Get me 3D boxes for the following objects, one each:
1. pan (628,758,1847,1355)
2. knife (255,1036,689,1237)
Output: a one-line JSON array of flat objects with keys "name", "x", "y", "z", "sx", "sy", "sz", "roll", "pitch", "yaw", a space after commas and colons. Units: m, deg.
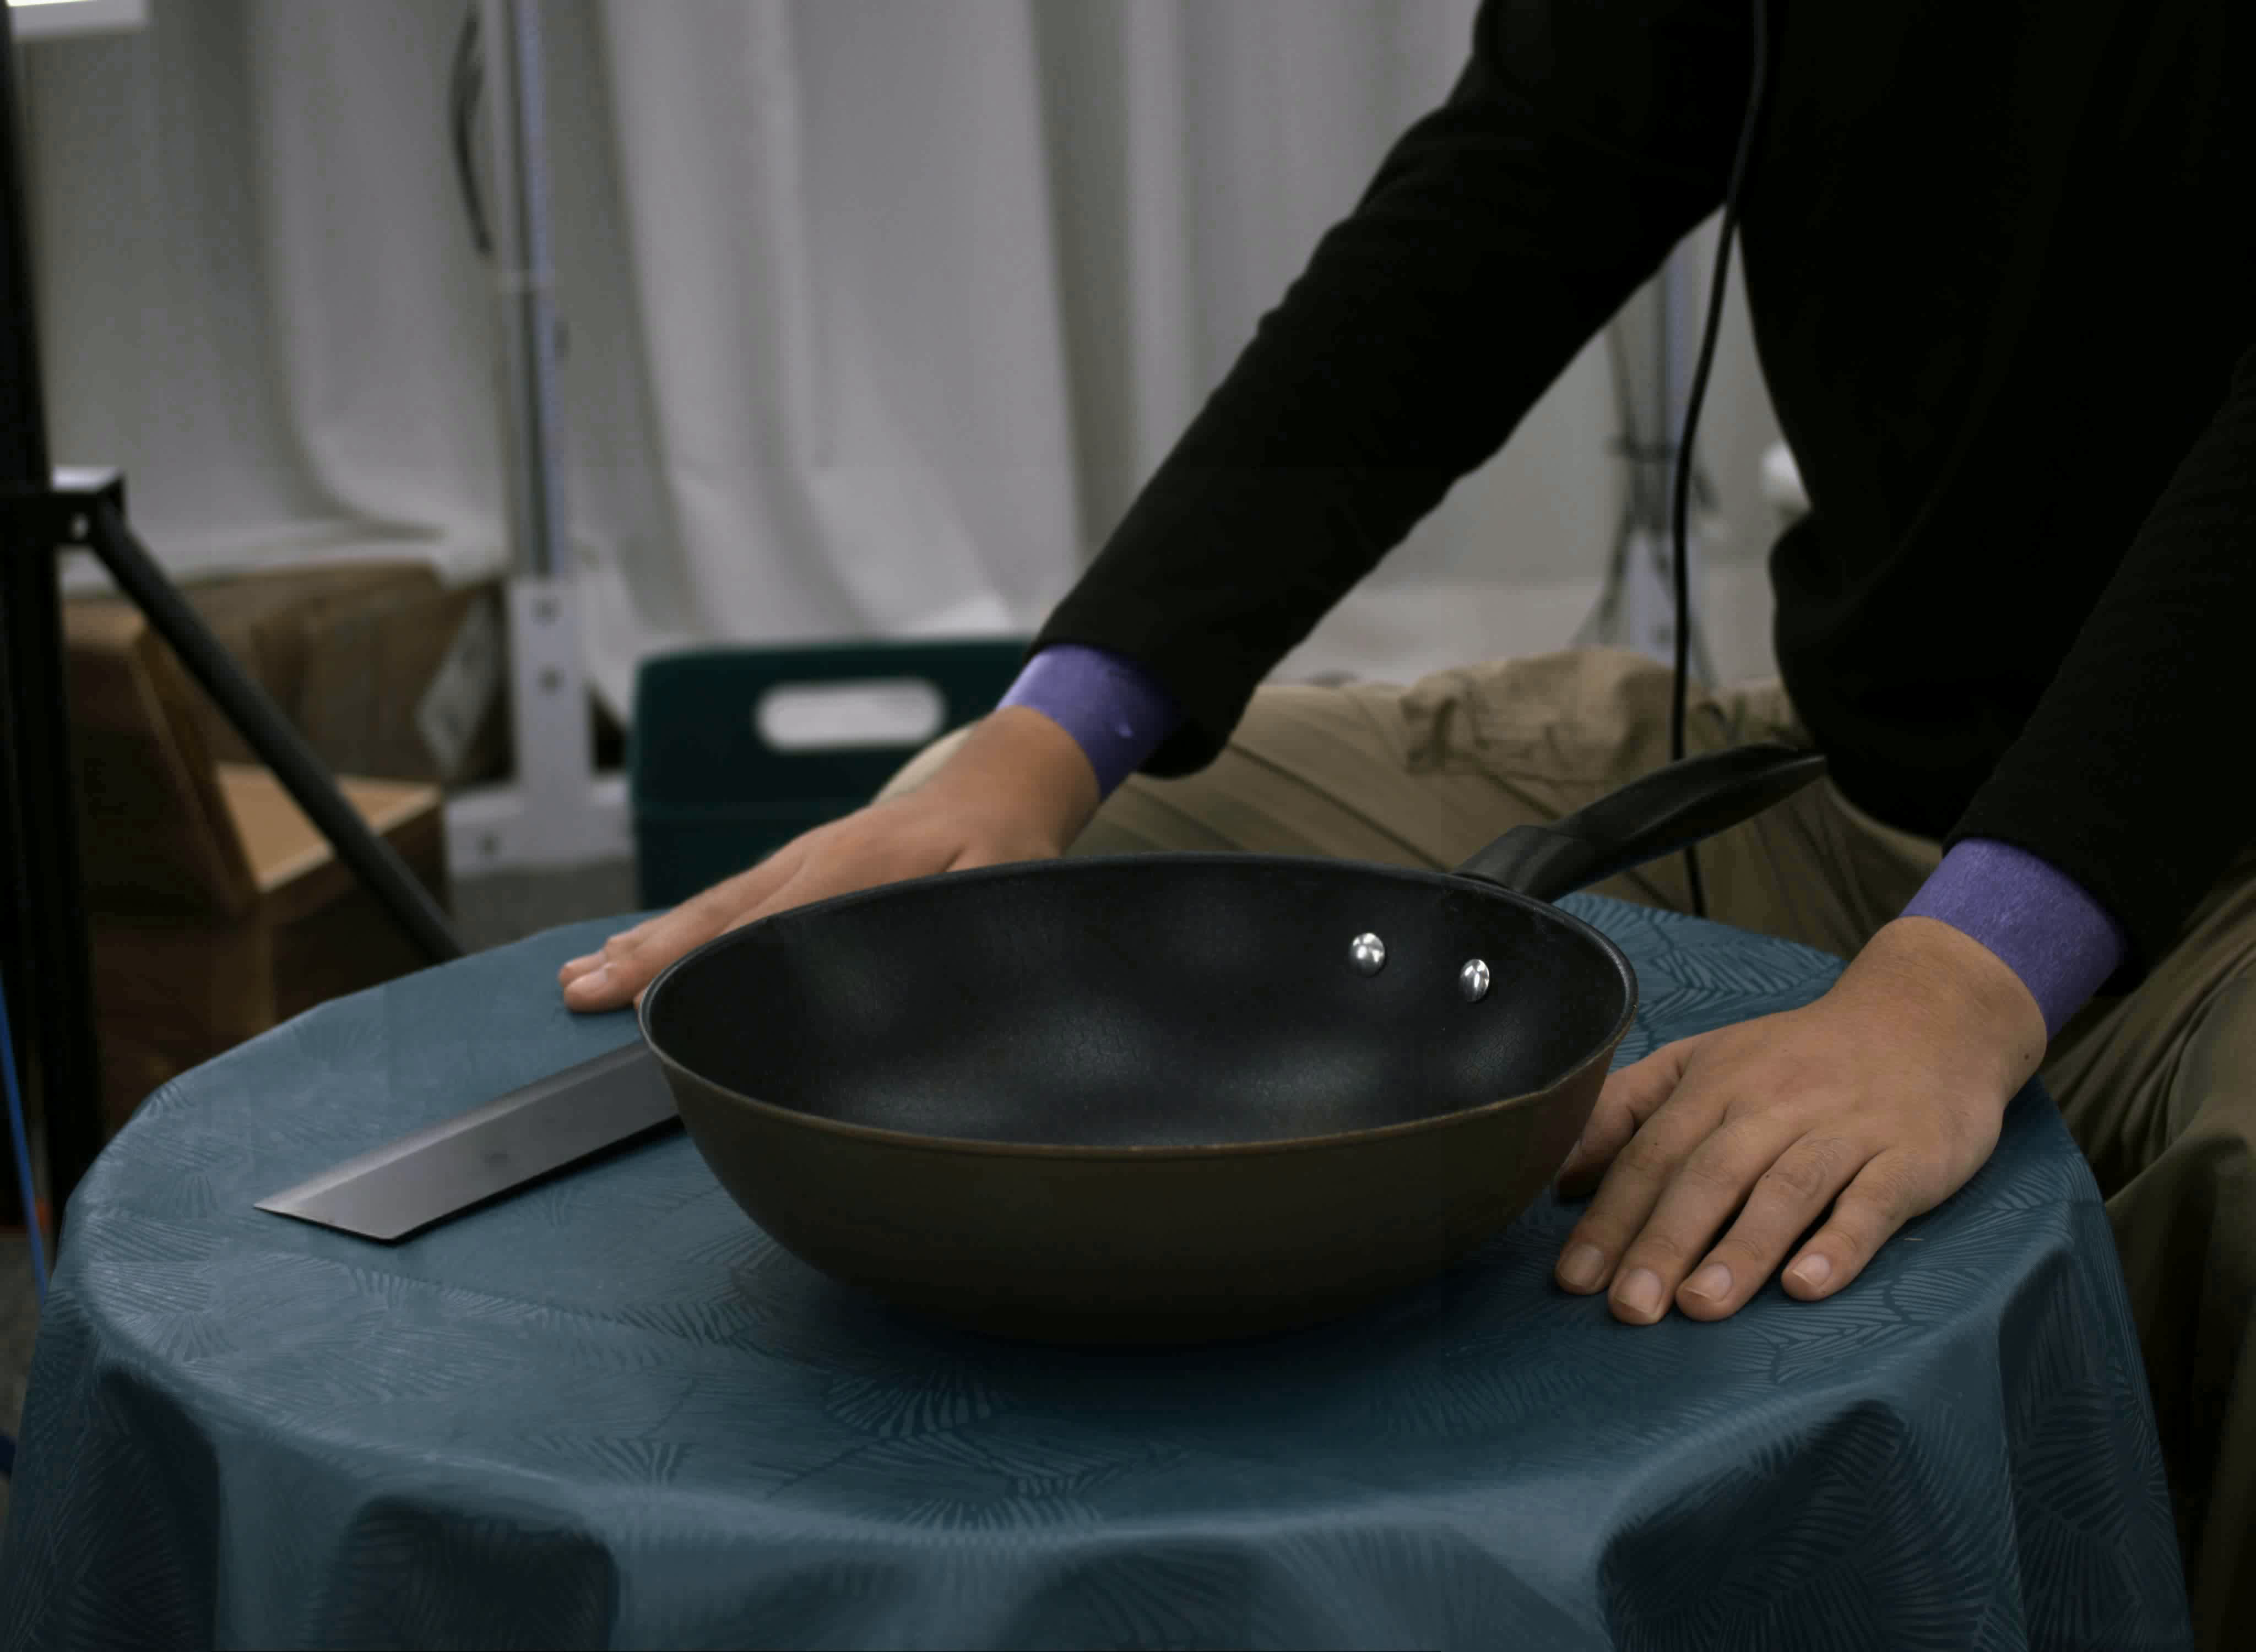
[{"name": "pan", "x": 0.062, "y": 0.063, "z": 1.552, "sx": 0.294, "sy": 0.087, "sz": 0.453, "roll": 12, "pitch": 21, "yaw": 42}, {"name": "knife", "x": -0.139, "y": 0.078, "z": 1.661, "sx": 0.295, "sy": 0.021, "sz": 0.083, "roll": -19, "pitch": 21, "yaw": -41}]
